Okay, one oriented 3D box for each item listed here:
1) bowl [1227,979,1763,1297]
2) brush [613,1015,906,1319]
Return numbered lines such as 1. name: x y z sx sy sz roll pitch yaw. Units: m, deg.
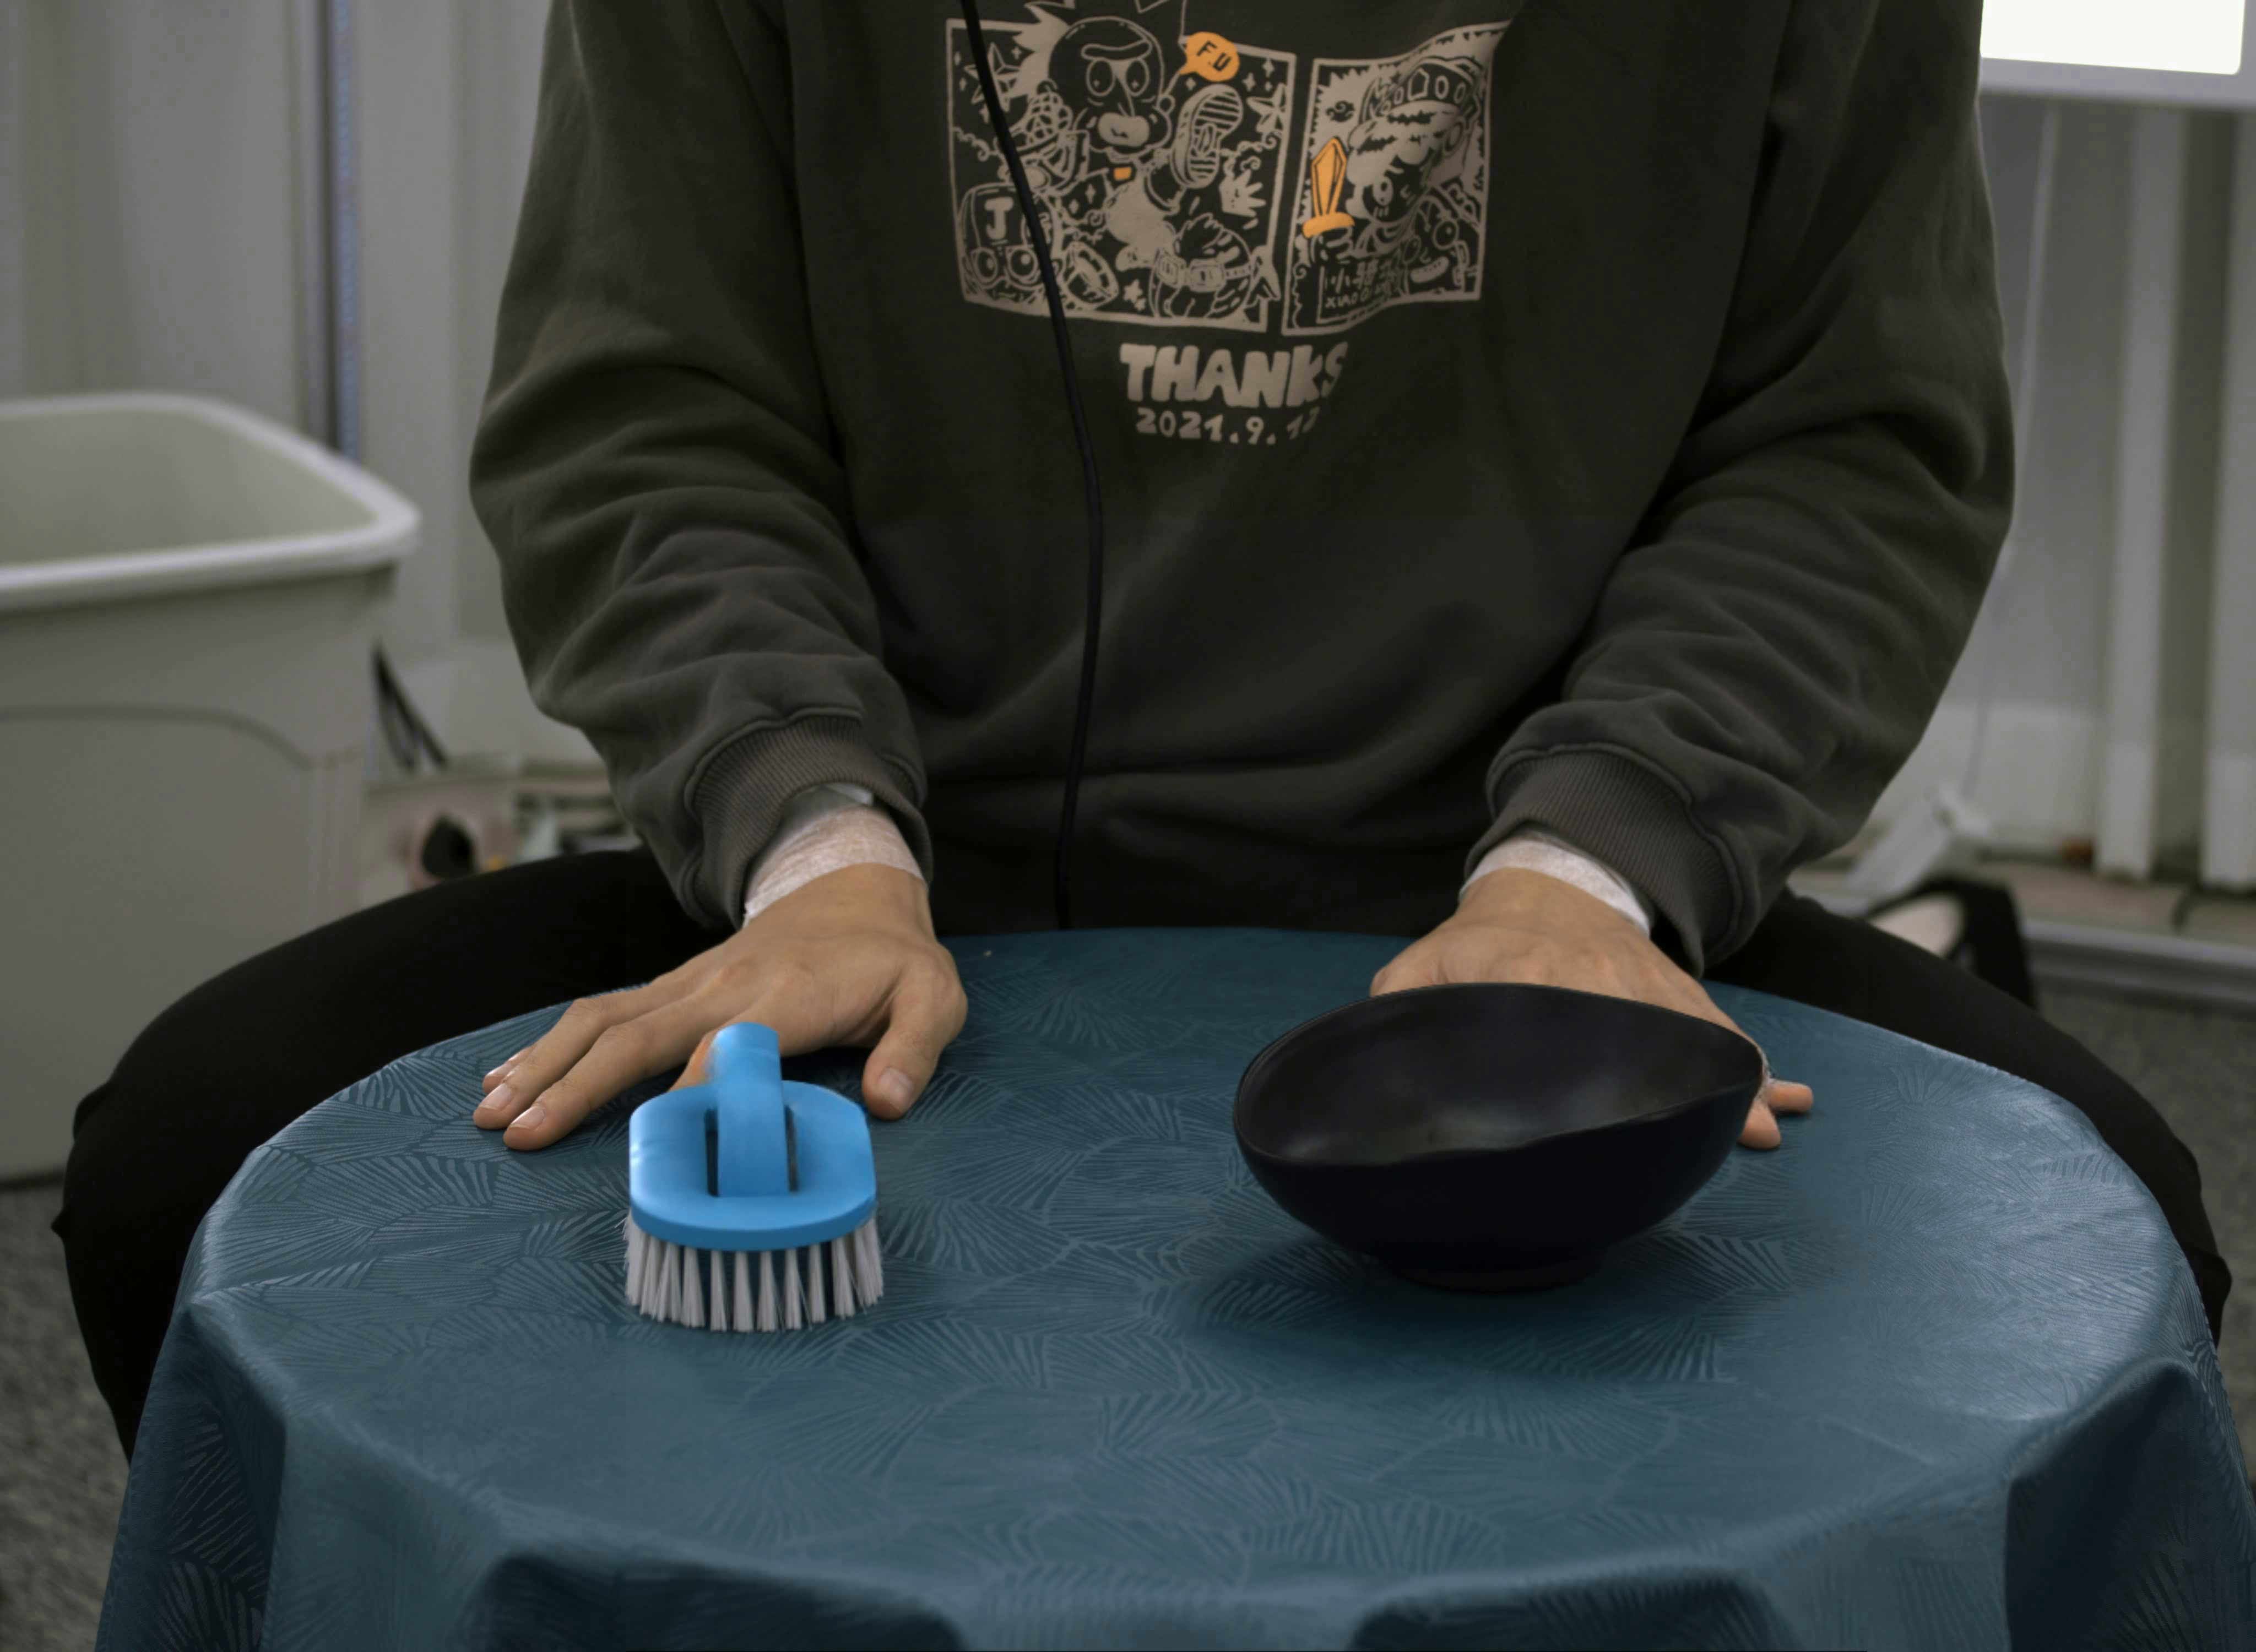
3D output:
1. bowl: 0.110 0.099 1.567 0.171 0.067 0.135 -13 19 -34
2. brush: -0.110 0.095 1.566 0.084 0.064 0.141 -5 15 -2
